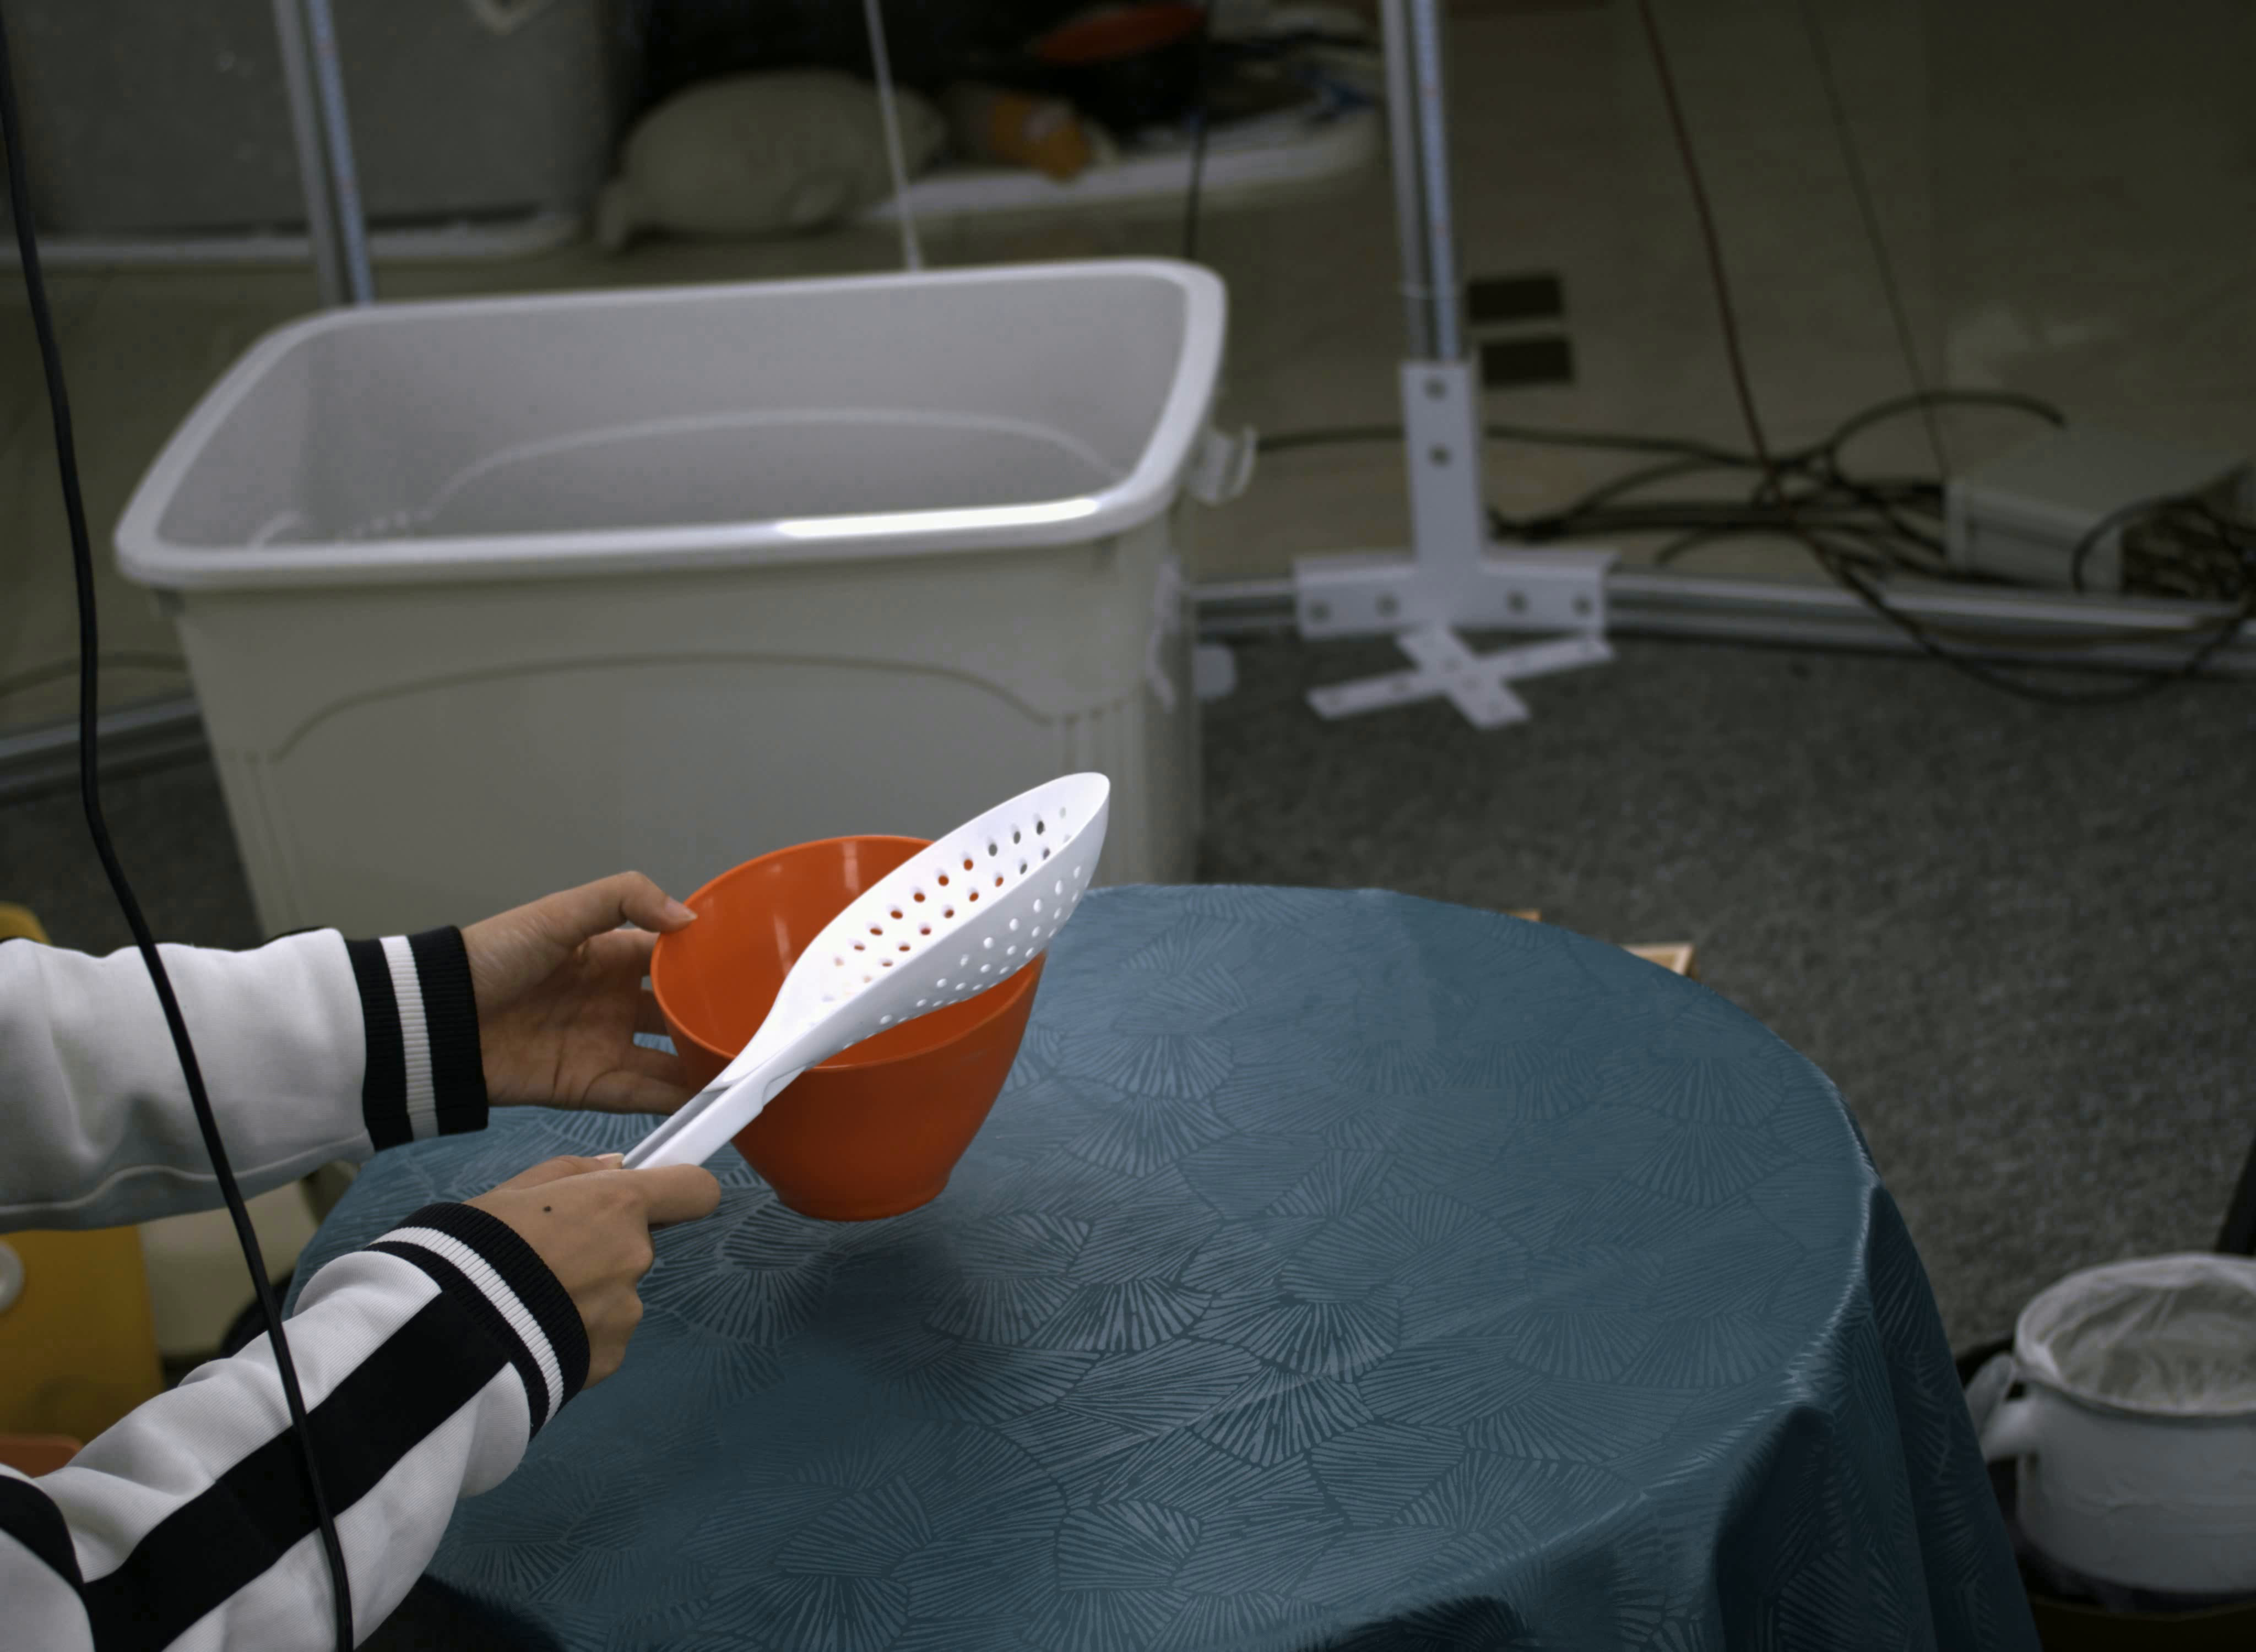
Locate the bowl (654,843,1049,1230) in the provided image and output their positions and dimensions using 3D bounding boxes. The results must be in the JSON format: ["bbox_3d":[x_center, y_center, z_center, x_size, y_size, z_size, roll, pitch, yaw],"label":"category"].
[{"bbox_3d":[-0.102,0.085,2.122,0.148,0.106,0.146,-1,26,1],"label":"bowl"}]

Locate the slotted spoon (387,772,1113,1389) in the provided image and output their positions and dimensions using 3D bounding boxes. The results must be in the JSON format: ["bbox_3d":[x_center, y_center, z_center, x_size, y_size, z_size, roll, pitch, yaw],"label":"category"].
[{"bbox_3d":[-0.128,0.085,1.973,0.346,0.046,0.136,-36,13,-33],"label":"slotted spoon"}]
